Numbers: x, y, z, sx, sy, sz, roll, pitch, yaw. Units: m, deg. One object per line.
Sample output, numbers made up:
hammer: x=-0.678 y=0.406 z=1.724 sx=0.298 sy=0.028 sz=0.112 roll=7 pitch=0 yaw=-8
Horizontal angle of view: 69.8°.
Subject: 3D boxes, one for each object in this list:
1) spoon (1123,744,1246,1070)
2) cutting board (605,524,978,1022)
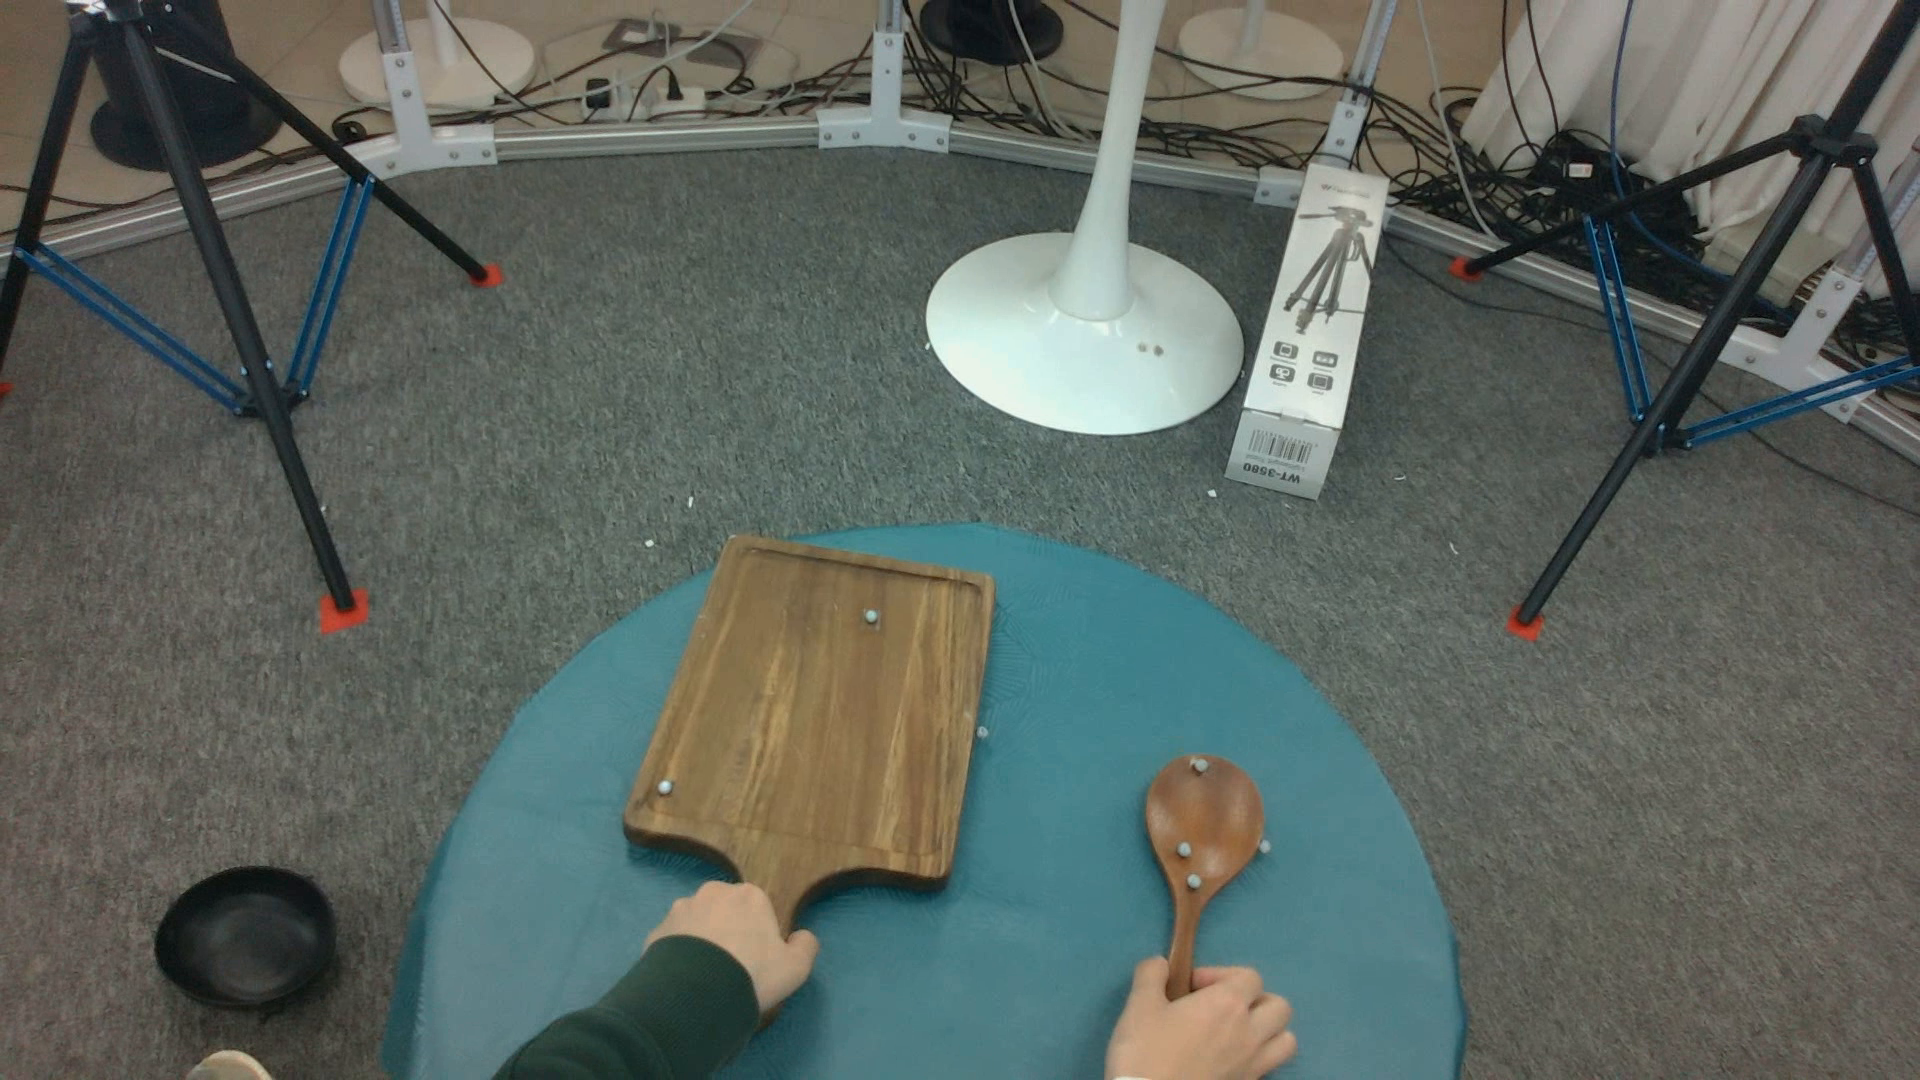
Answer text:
spoon: x=0.125 y=0.210 z=0.816 sx=0.075 sy=0.017 sz=0.217 roll=15 pitch=46 yaw=5
cutting board: x=-0.103 y=0.128 z=0.854 sx=0.201 sy=0.023 sz=0.354 roll=10 pitch=44 yaw=0
